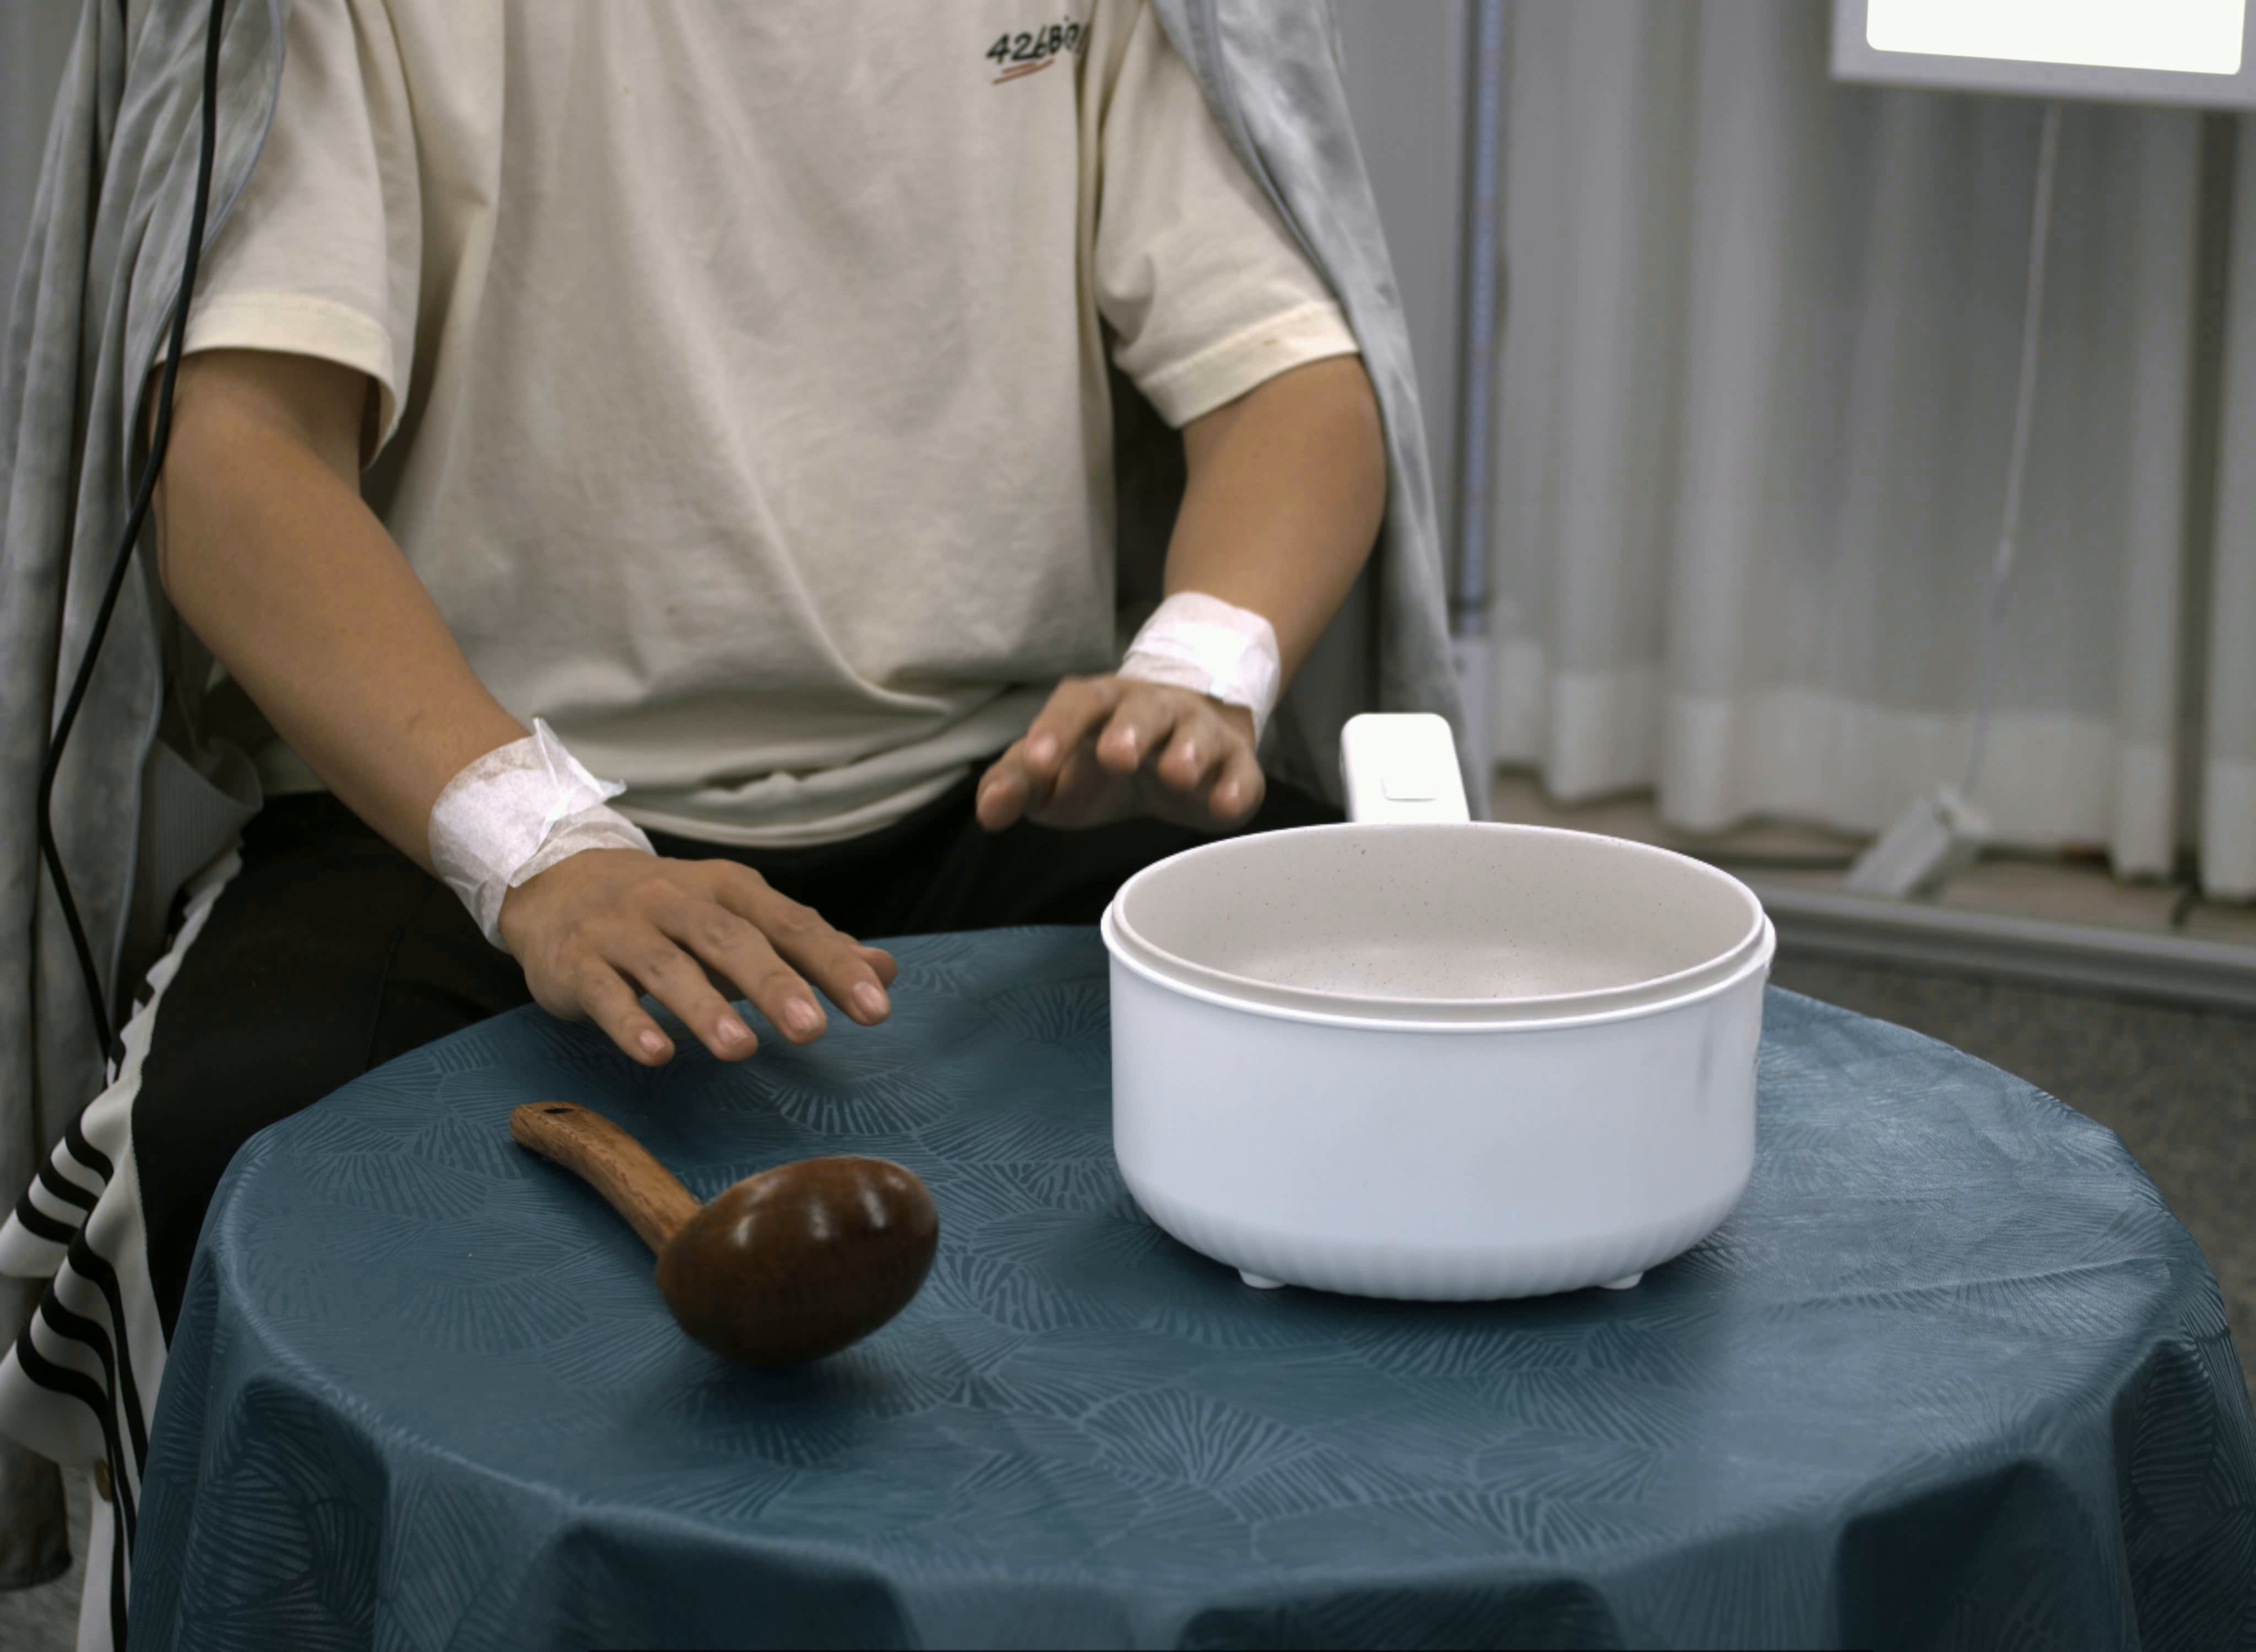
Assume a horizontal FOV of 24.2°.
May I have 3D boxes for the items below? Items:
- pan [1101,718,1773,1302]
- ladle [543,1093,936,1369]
[{"bbox_3d":[0.093,0.053,1.659,0.200,0.103,0.353,0,15,0],"label":"pan"},{"bbox_3d":[-0.129,0.093,1.541,0.082,0.077,0.271,3,14,-22],"label":"ladle"}]
